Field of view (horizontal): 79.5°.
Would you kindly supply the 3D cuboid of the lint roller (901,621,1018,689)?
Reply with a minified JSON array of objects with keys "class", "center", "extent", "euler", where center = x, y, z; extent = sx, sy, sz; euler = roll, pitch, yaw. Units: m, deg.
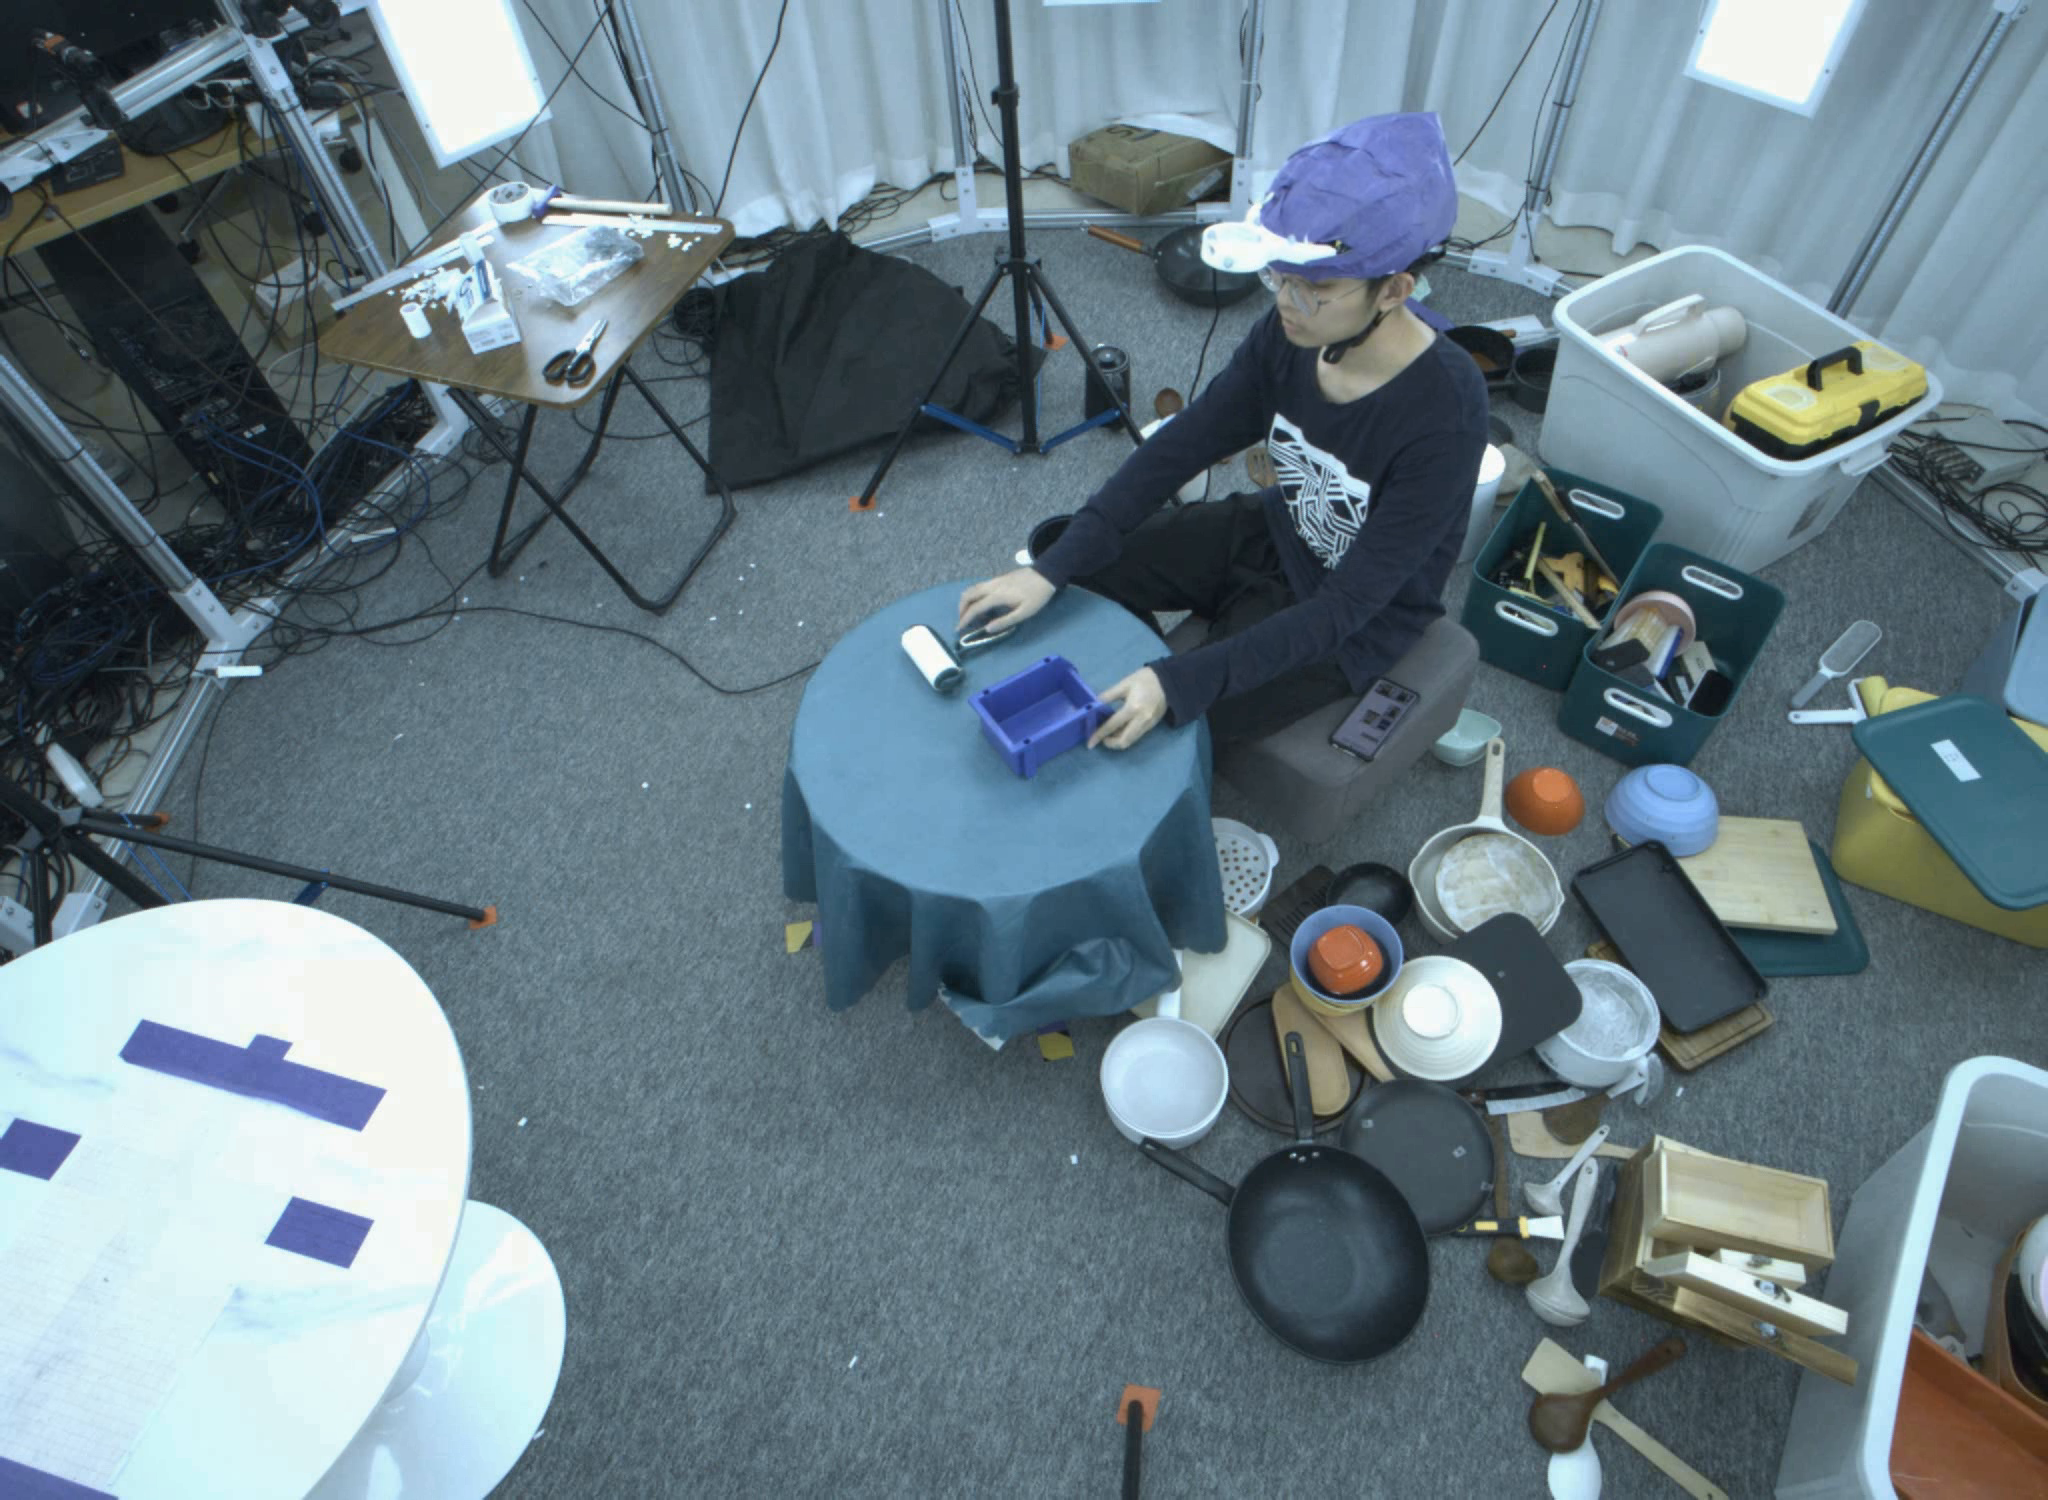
[{"class":"lint roller","center":[-0.087,-0.171,1.894],"extent":[0.182,0.049,0.132],"euler":[-27,59,-20]}]

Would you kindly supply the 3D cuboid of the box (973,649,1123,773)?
[{"class":"box","center":[0.035,-0.060,1.787],"extent":[0.180,0.083,0.122],"euler":[-29,57,-15]}]
